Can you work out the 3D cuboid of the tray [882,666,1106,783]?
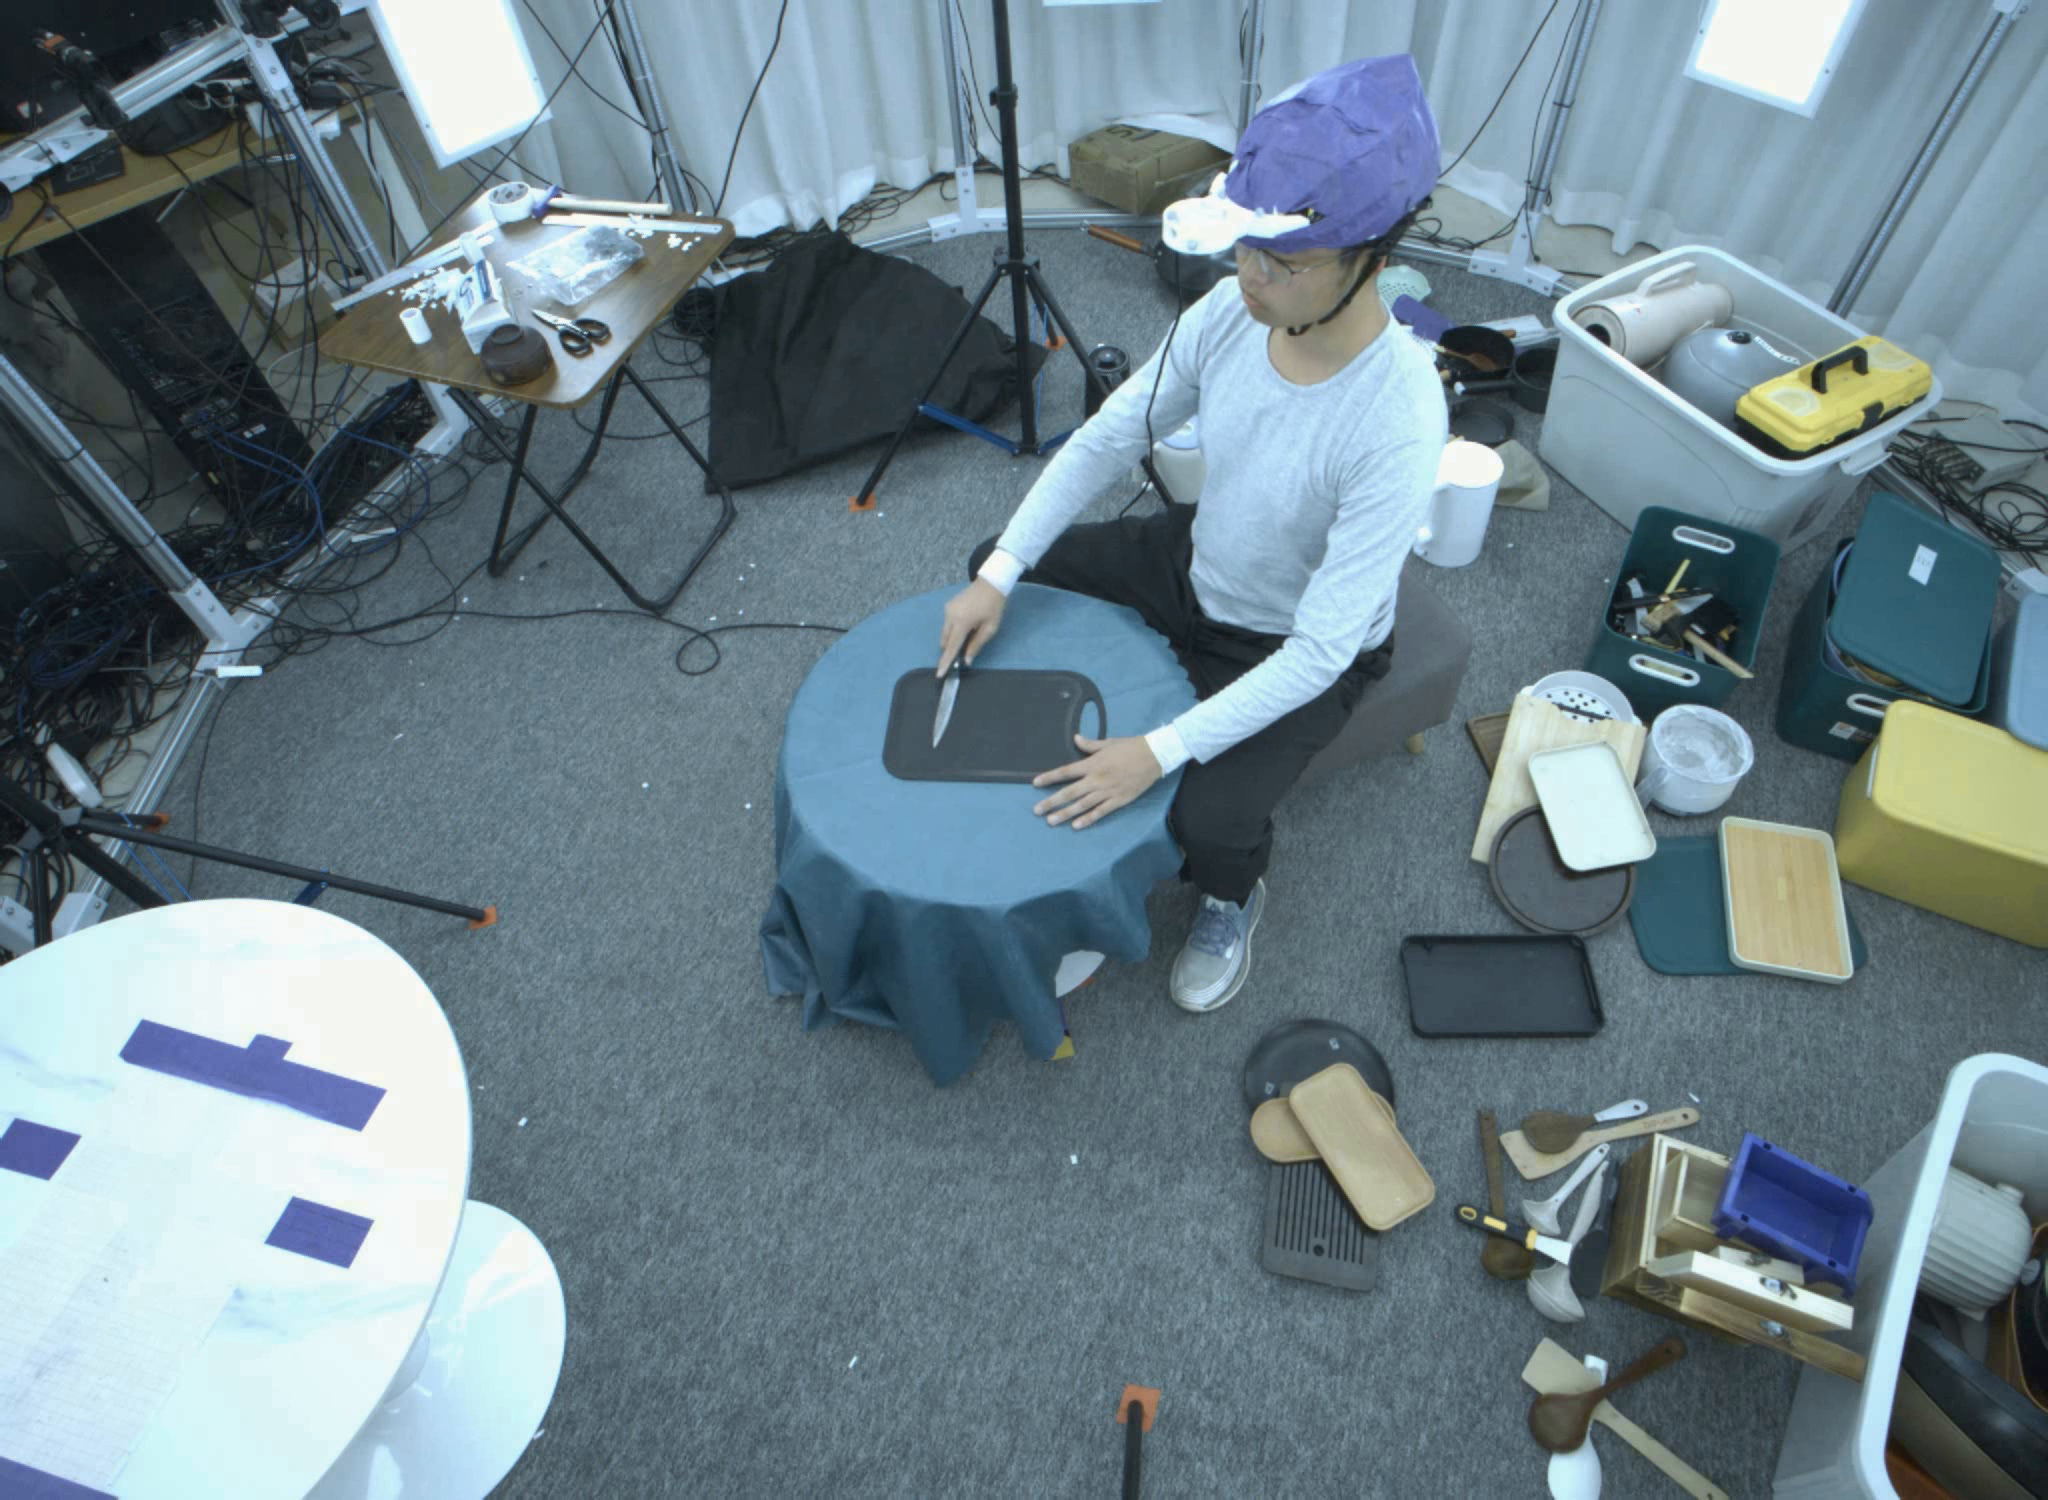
[{"bbox_3d":[-0.041,-0.042,1.822,0.325,0.010,0.209,2,55,3],"label":"tray"}]

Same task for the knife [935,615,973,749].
[{"bbox_3d":[-0.109,-0.107,1.852,0.025,0.016,0.237,22,62,-21],"label":"knife"}]
